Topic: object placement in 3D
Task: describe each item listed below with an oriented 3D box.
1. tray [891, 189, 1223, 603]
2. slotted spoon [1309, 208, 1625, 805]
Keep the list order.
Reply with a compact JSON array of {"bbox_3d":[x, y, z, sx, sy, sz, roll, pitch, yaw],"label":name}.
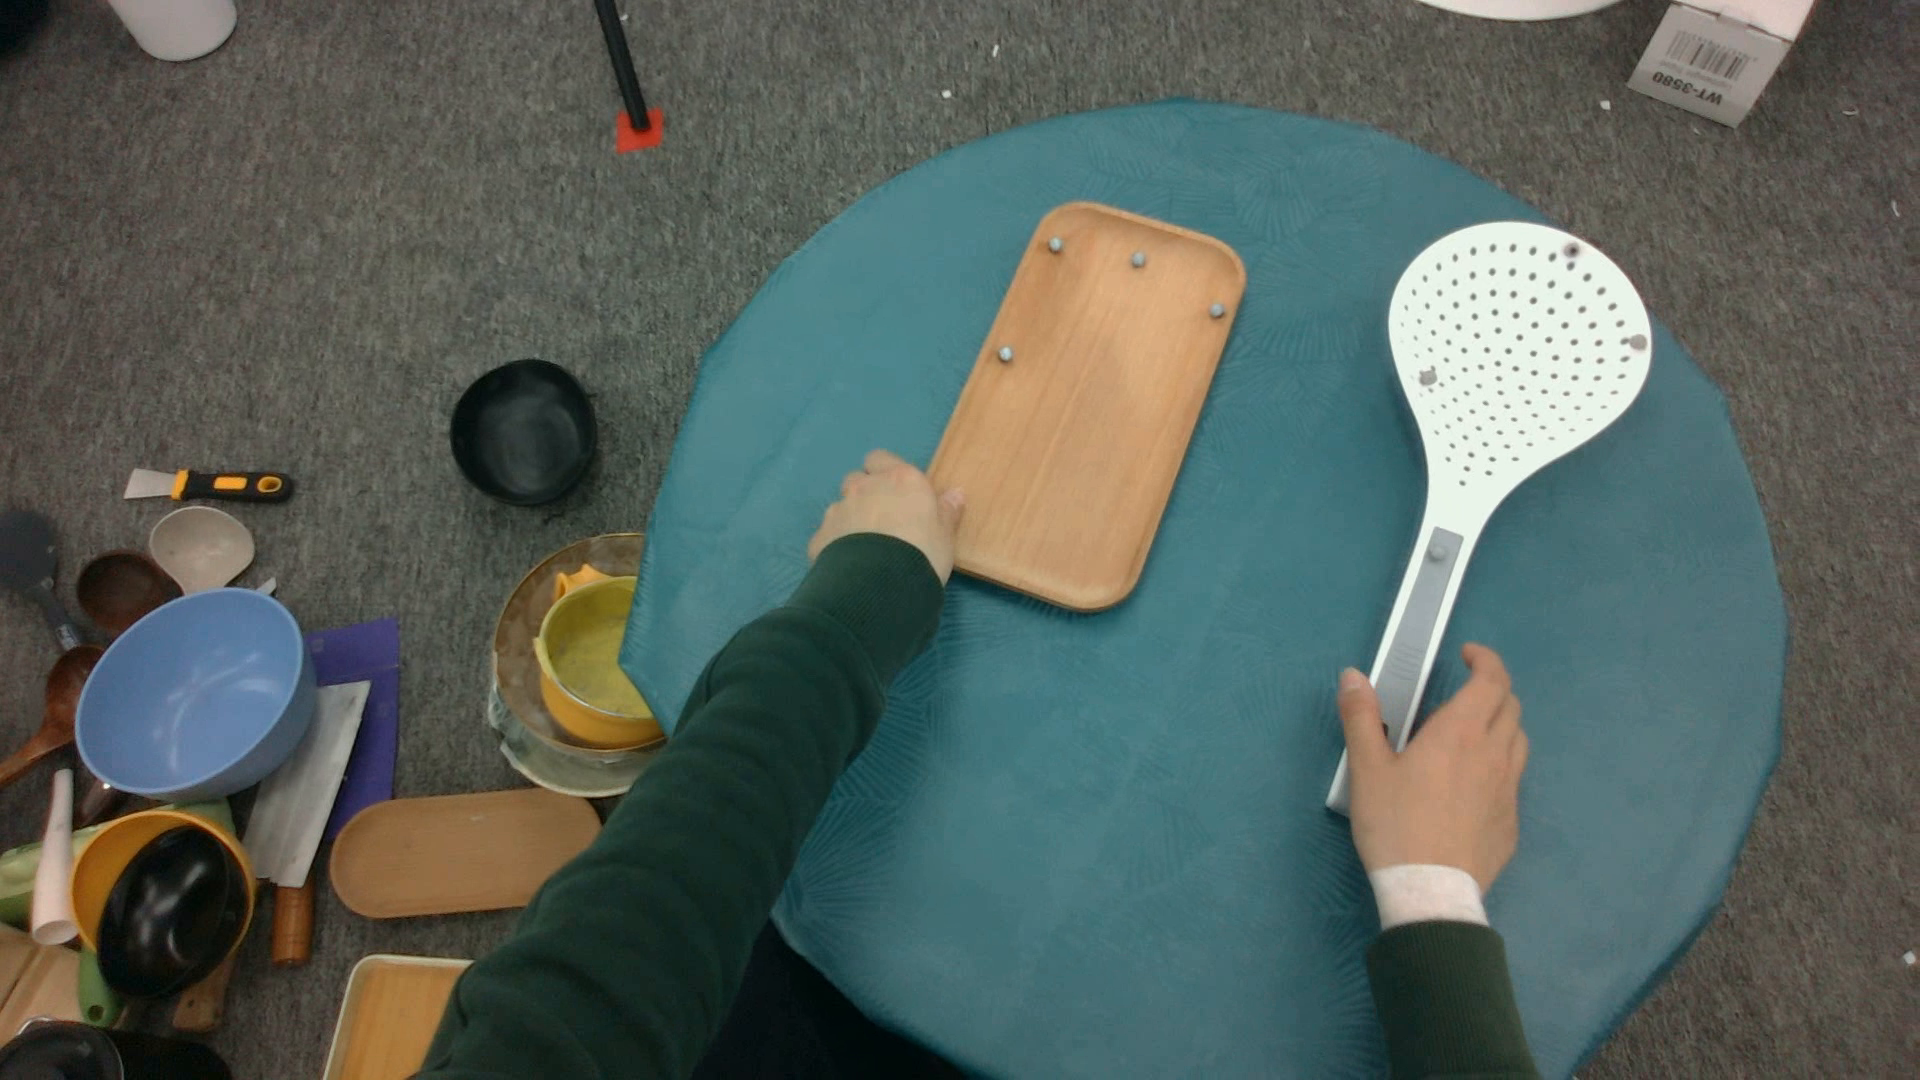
[{"bbox_3d":[0.058,-0.086,0.766,0.130,0.023,0.251,18,67,10],"label":"tray"},{"bbox_3d":[0.250,-0.026,0.722,0.136,0.045,0.351,20,67,12],"label":"slotted spoon"}]
